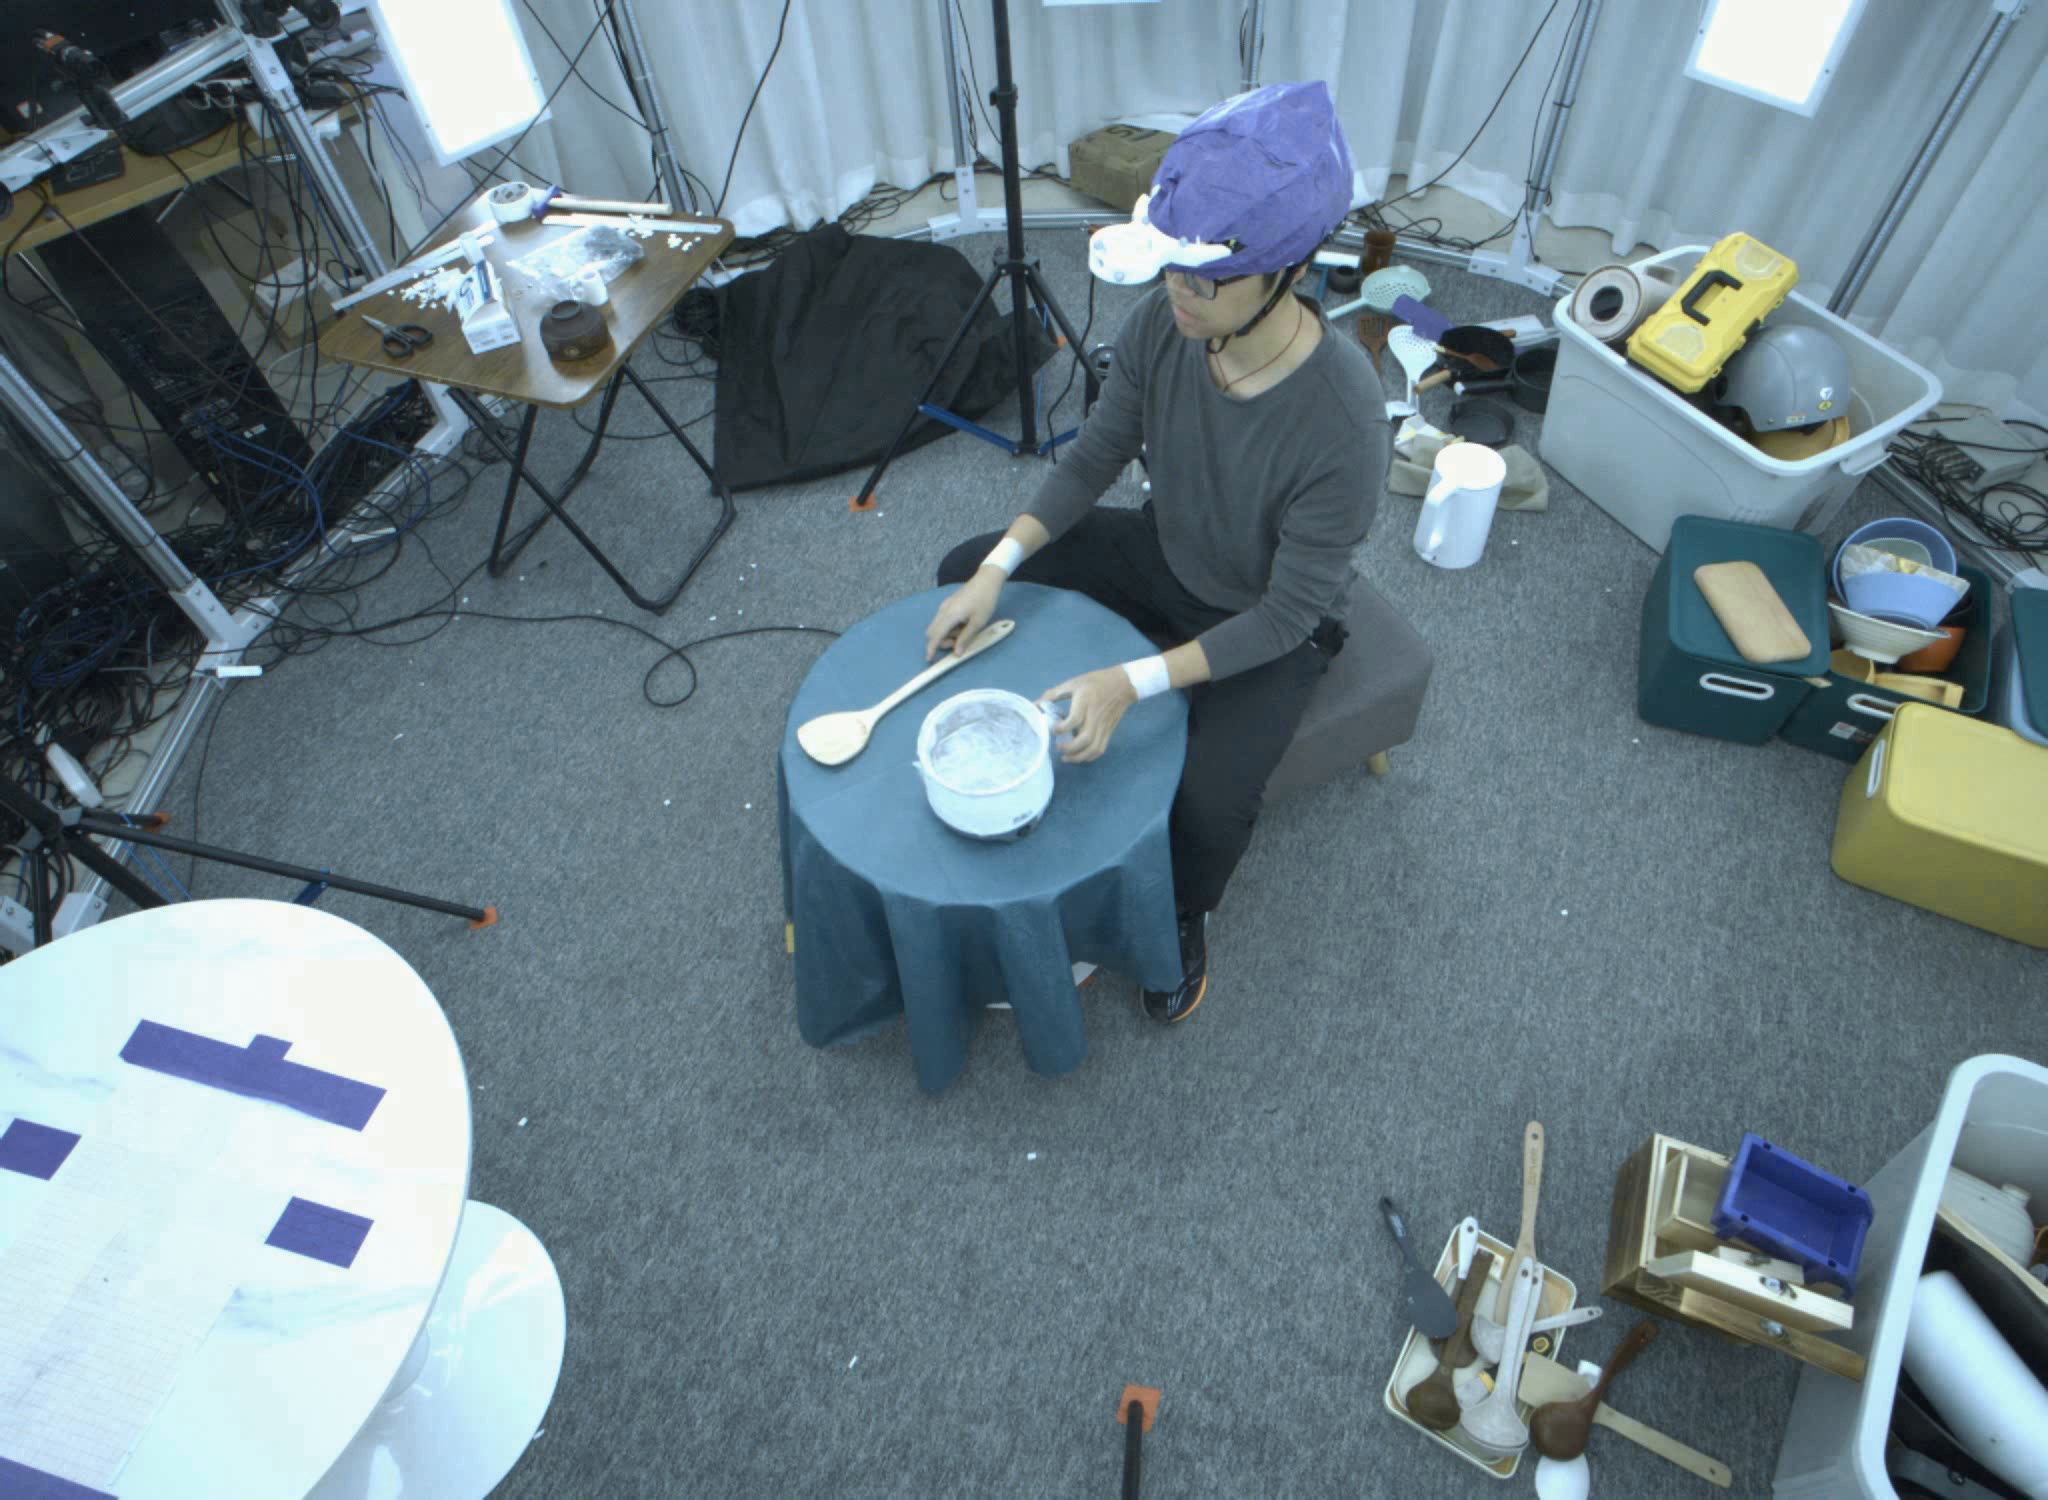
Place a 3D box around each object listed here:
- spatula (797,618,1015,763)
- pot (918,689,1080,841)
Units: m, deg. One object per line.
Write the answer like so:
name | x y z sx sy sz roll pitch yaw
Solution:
spatula | -0.169 -0.102 1.862 0.394 0.018 0.094 -36 63 -22
pot | -0.027 0.011 1.703 0.235 0.138 0.175 -30 59 -18
